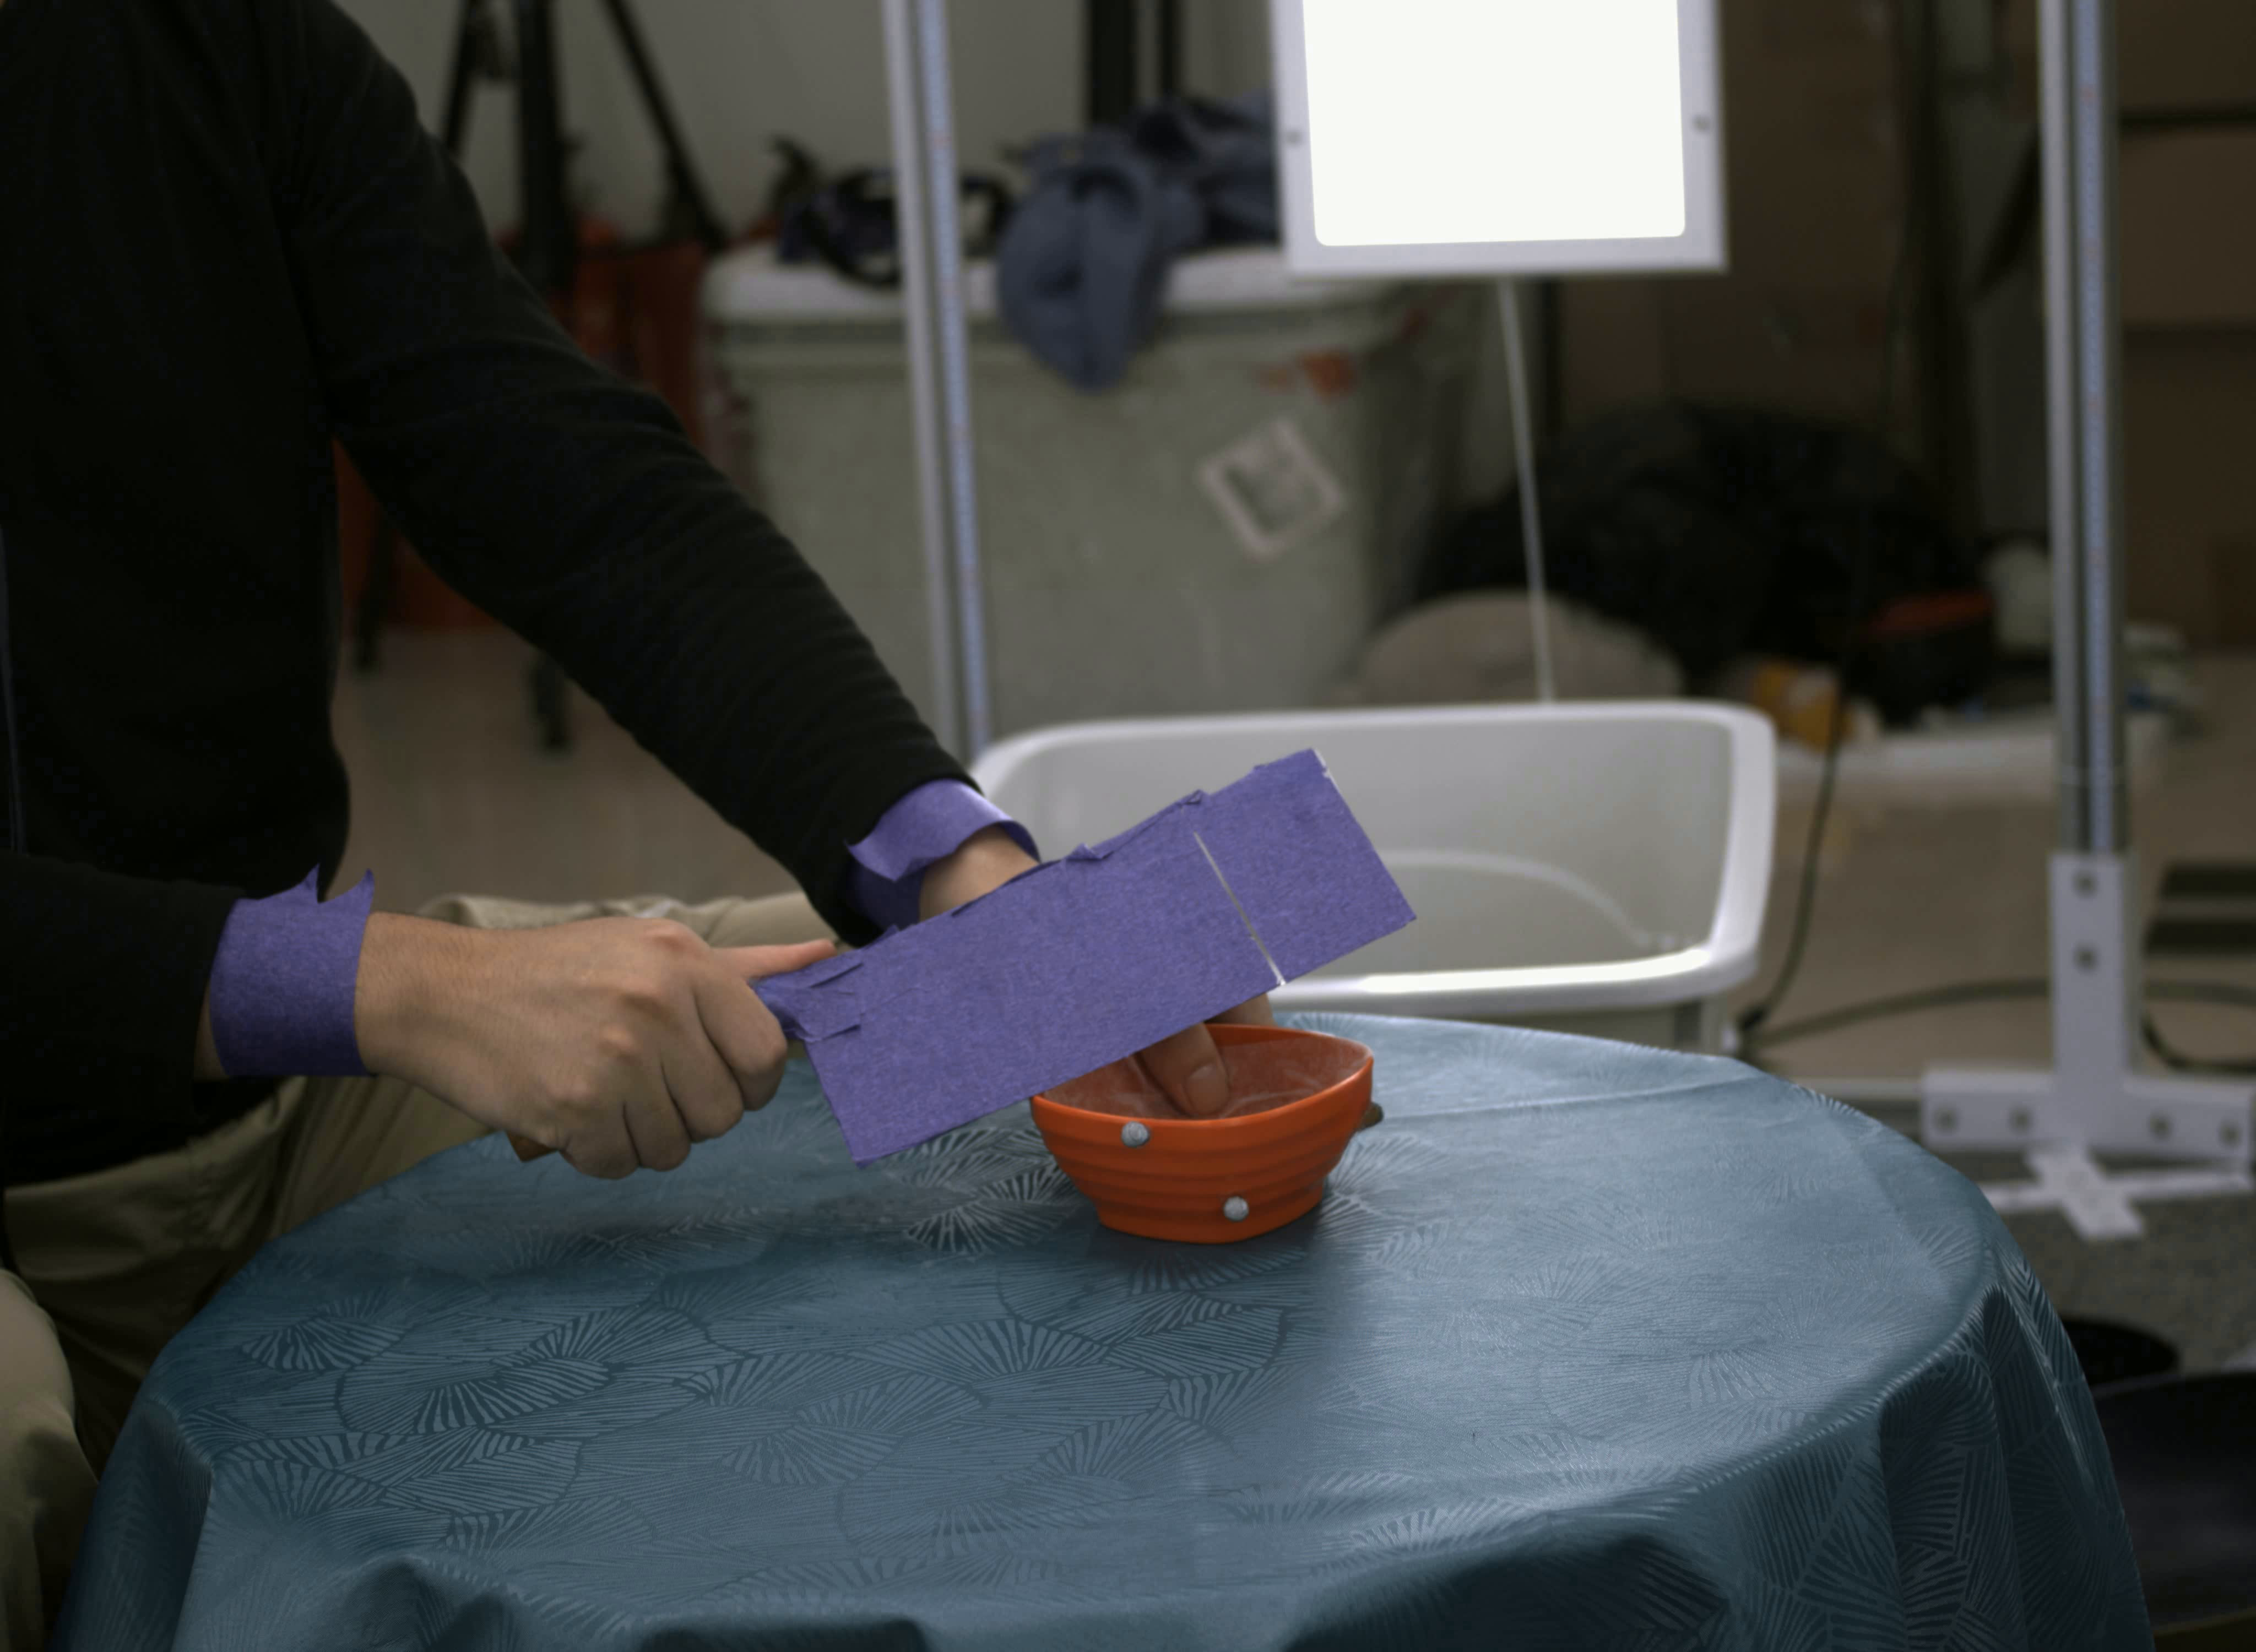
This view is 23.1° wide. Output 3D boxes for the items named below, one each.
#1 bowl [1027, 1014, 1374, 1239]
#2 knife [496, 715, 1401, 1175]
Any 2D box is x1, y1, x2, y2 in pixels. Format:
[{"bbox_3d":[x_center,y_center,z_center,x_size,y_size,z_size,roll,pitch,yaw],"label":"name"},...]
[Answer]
[{"bbox_3d":[0.026,0.104,1.864,0.118,0.051,0.119,-4,15,0],"label":"bowl"},{"bbox_3d":[-0.061,0.059,1.877,0.314,0.032,0.104,-26,48,0],"label":"knife"}]
